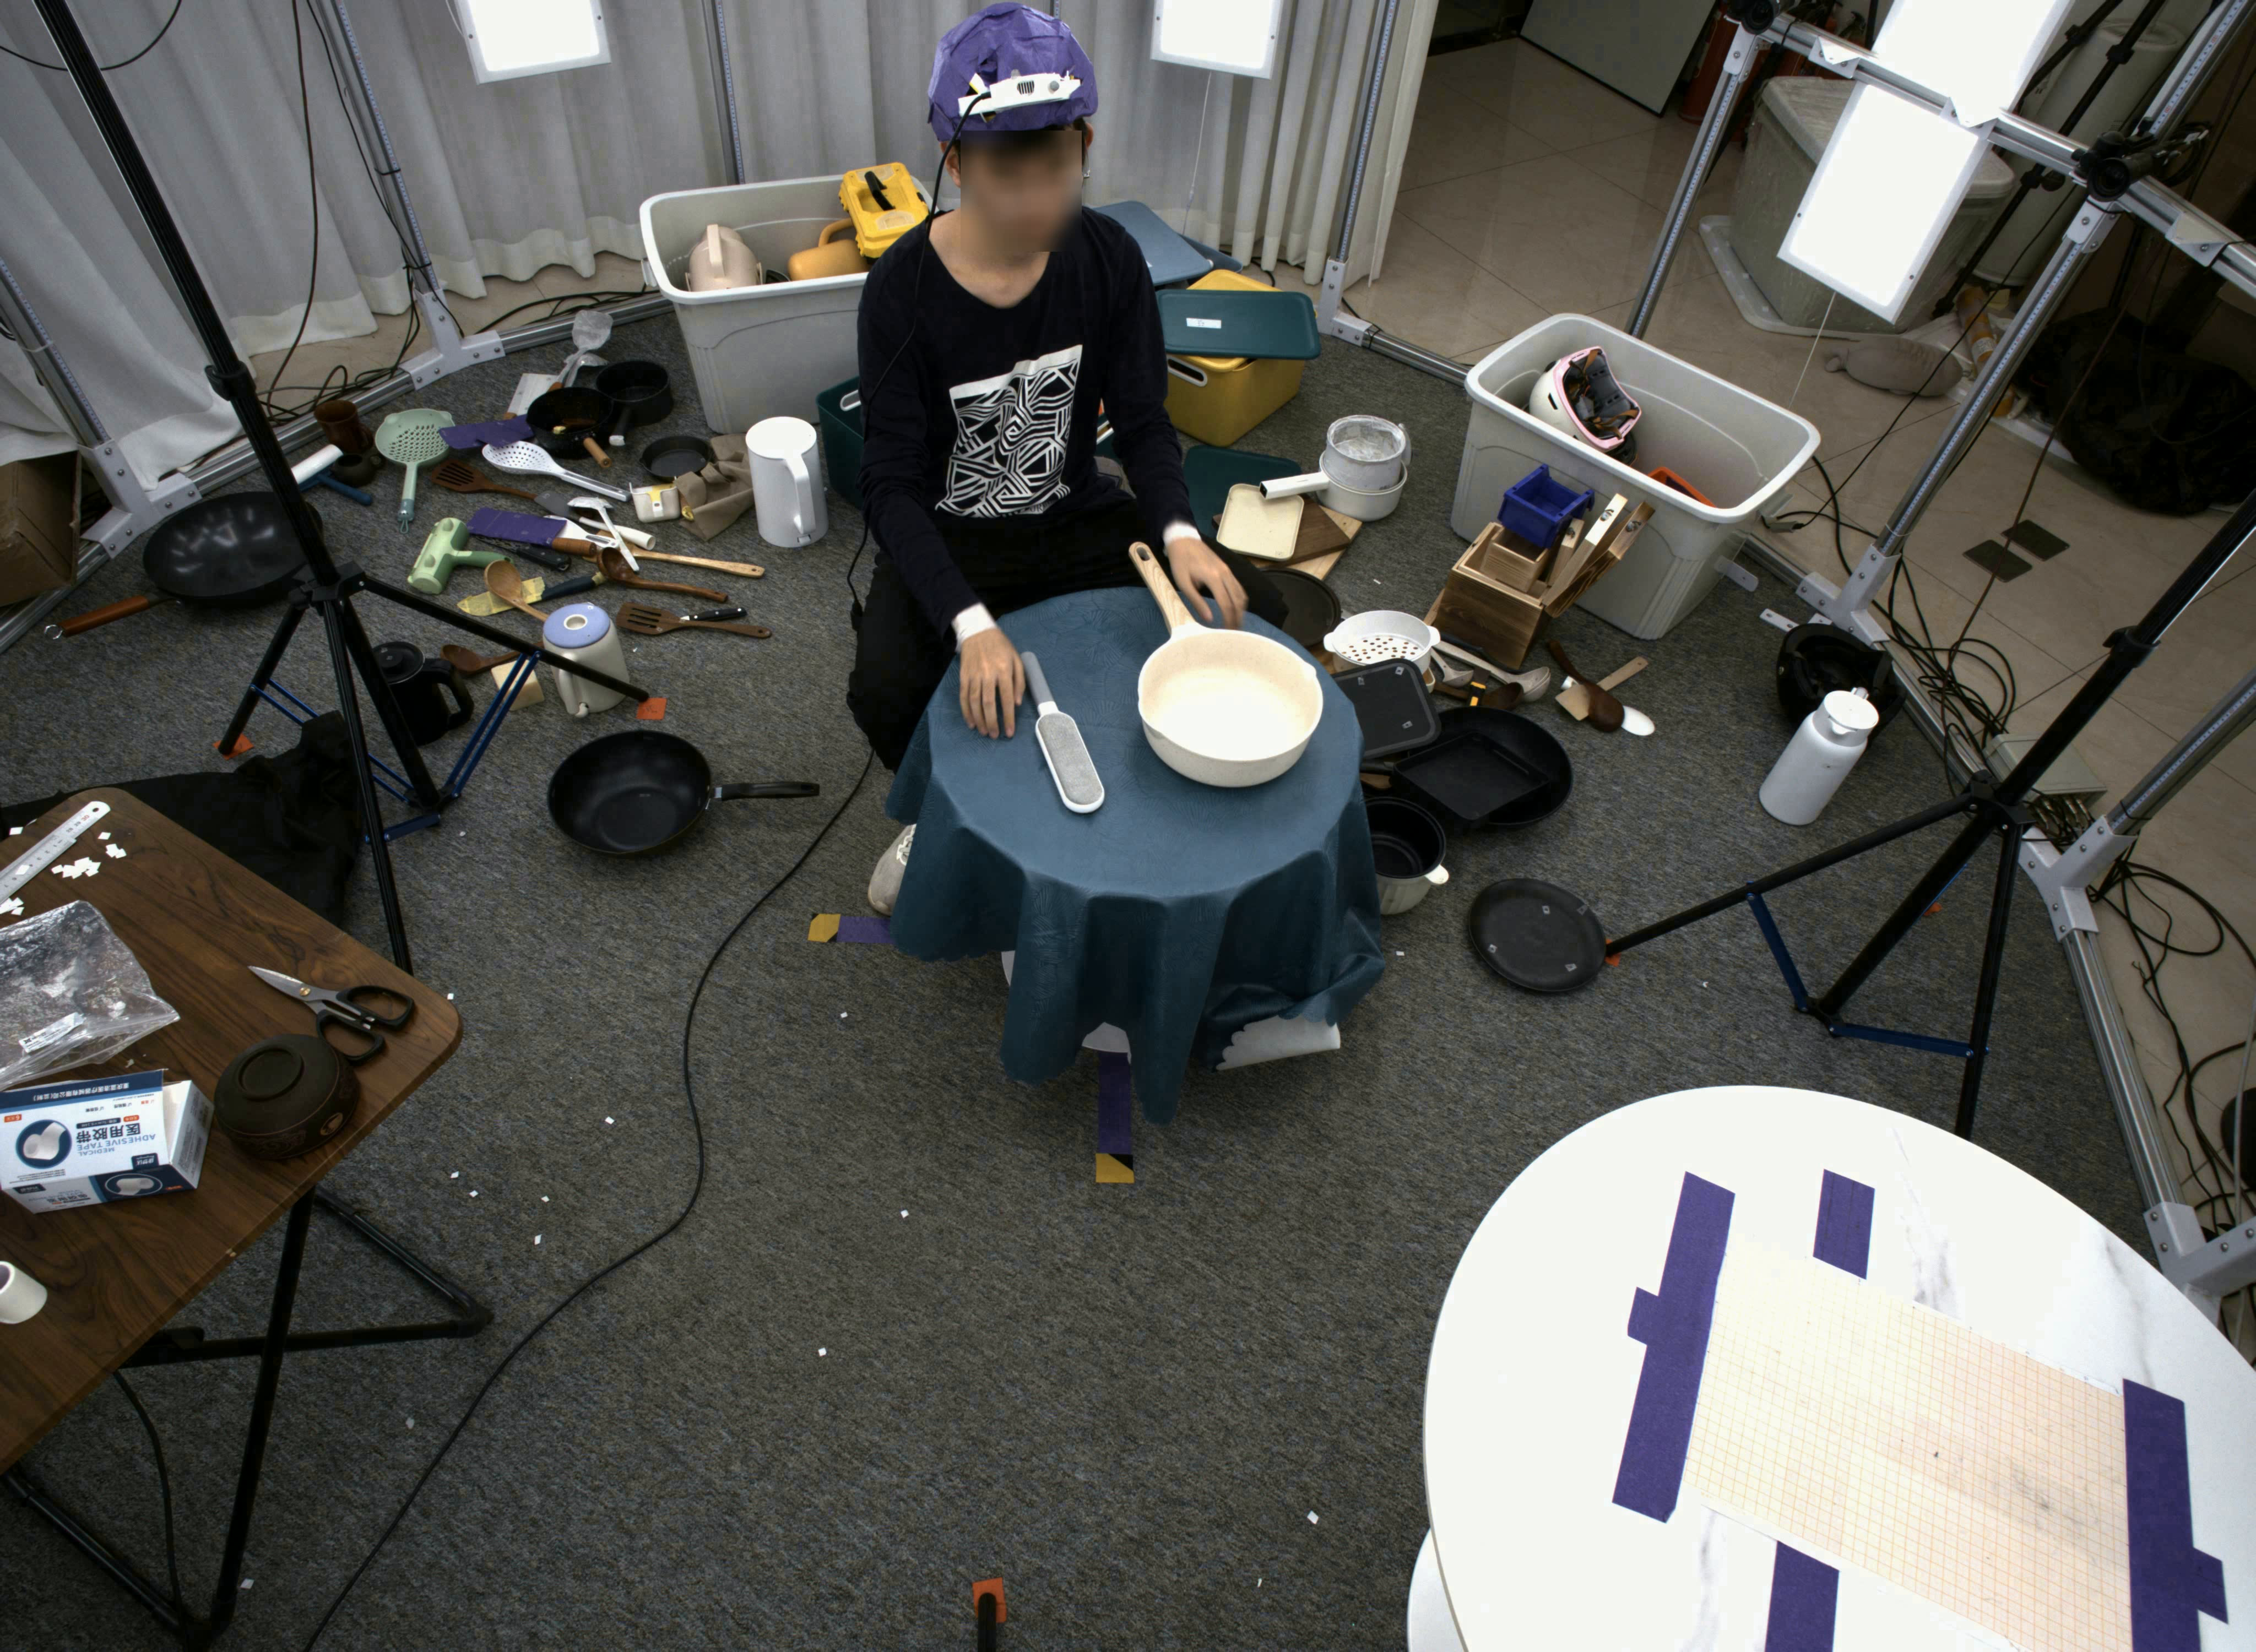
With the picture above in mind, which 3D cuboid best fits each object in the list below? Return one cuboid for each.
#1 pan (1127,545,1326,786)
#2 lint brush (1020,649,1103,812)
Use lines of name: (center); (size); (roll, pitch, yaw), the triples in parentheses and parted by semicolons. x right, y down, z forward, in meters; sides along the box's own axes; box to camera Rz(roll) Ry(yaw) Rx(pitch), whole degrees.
pan: (0.102, -0.229, 1.810); (0.264, 0.099, 0.445); (-19, 53, -16)
lint brush: (-0.098, -0.137, 1.761); (0.060, 0.020, 0.316); (-15, 52, -10)
